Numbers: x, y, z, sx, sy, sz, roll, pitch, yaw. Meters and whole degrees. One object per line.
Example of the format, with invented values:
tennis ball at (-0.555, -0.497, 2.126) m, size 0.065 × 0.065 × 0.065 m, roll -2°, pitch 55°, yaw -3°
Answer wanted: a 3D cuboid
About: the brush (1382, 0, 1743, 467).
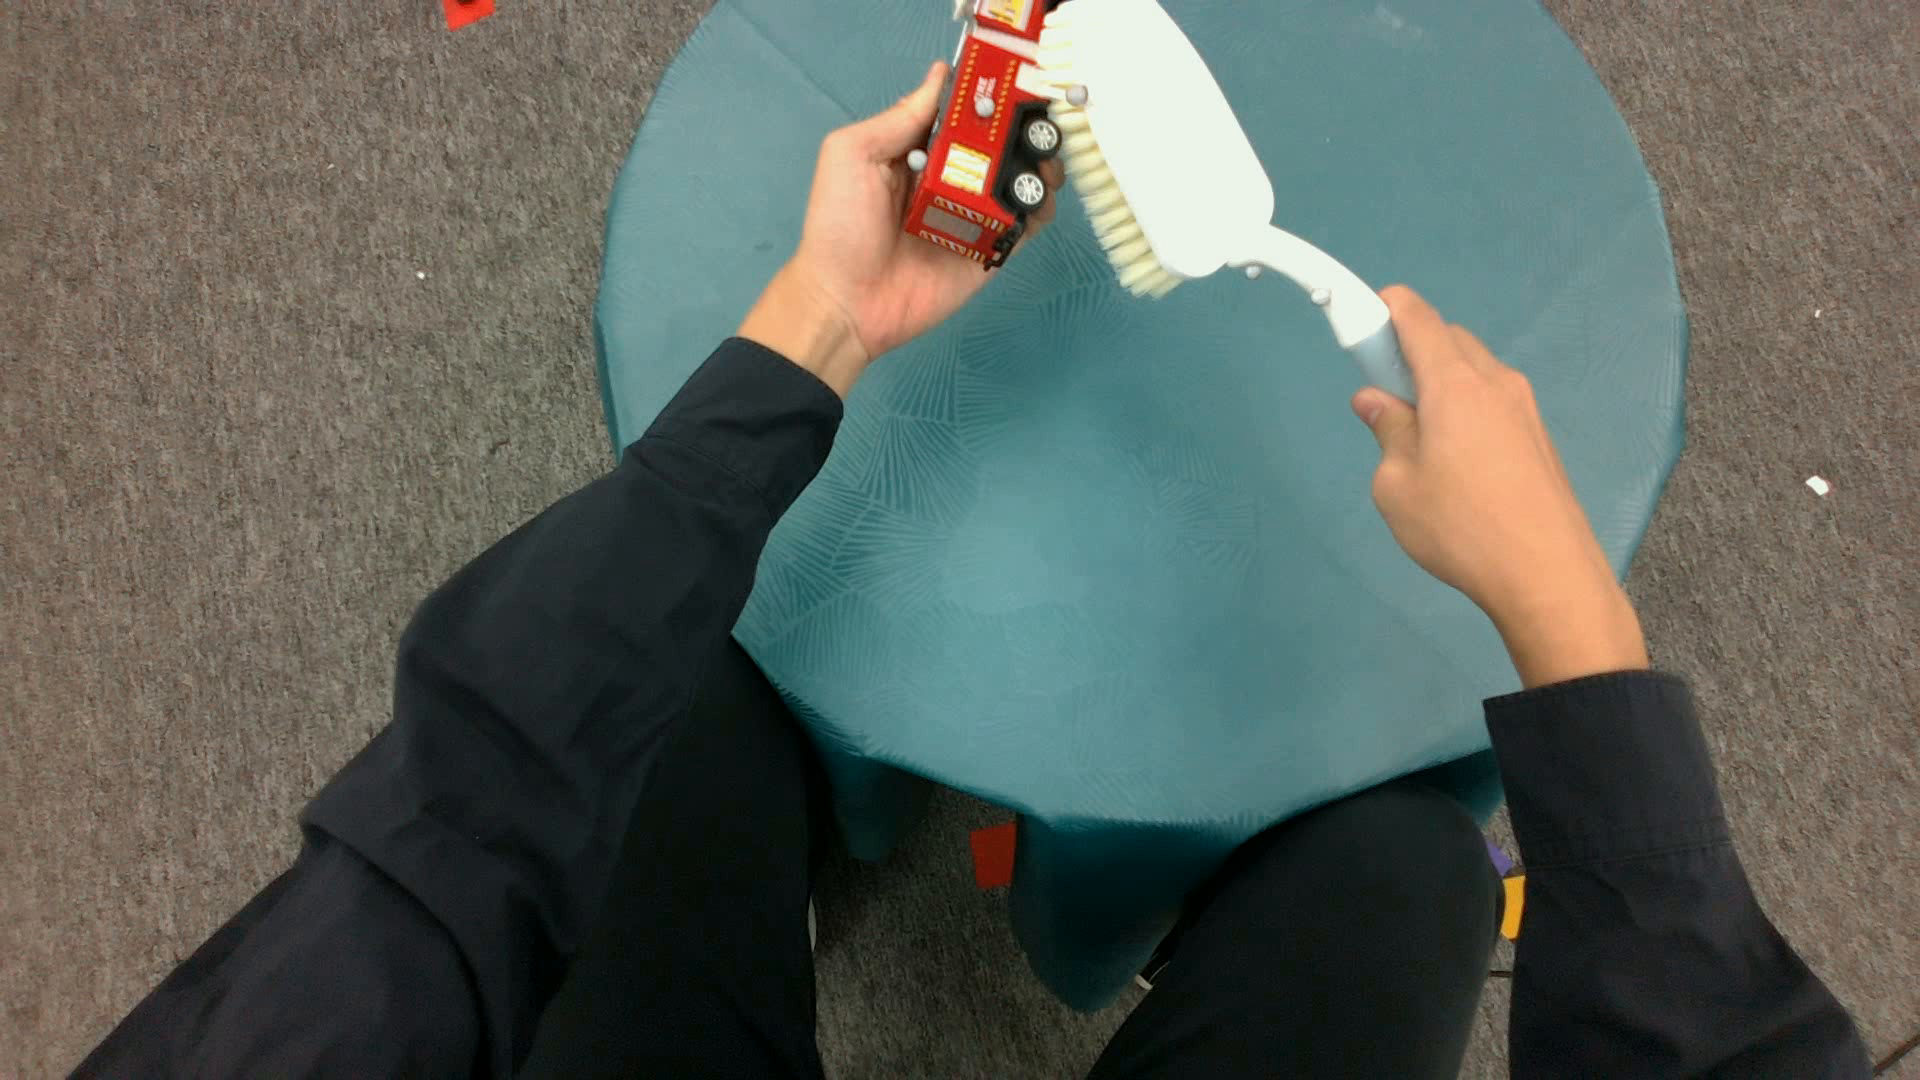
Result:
brush at (0.233, -0.177, 0.565) m, size 0.083 × 0.085 × 0.325 m, roll -19°, pitch 105°, yaw 21°
